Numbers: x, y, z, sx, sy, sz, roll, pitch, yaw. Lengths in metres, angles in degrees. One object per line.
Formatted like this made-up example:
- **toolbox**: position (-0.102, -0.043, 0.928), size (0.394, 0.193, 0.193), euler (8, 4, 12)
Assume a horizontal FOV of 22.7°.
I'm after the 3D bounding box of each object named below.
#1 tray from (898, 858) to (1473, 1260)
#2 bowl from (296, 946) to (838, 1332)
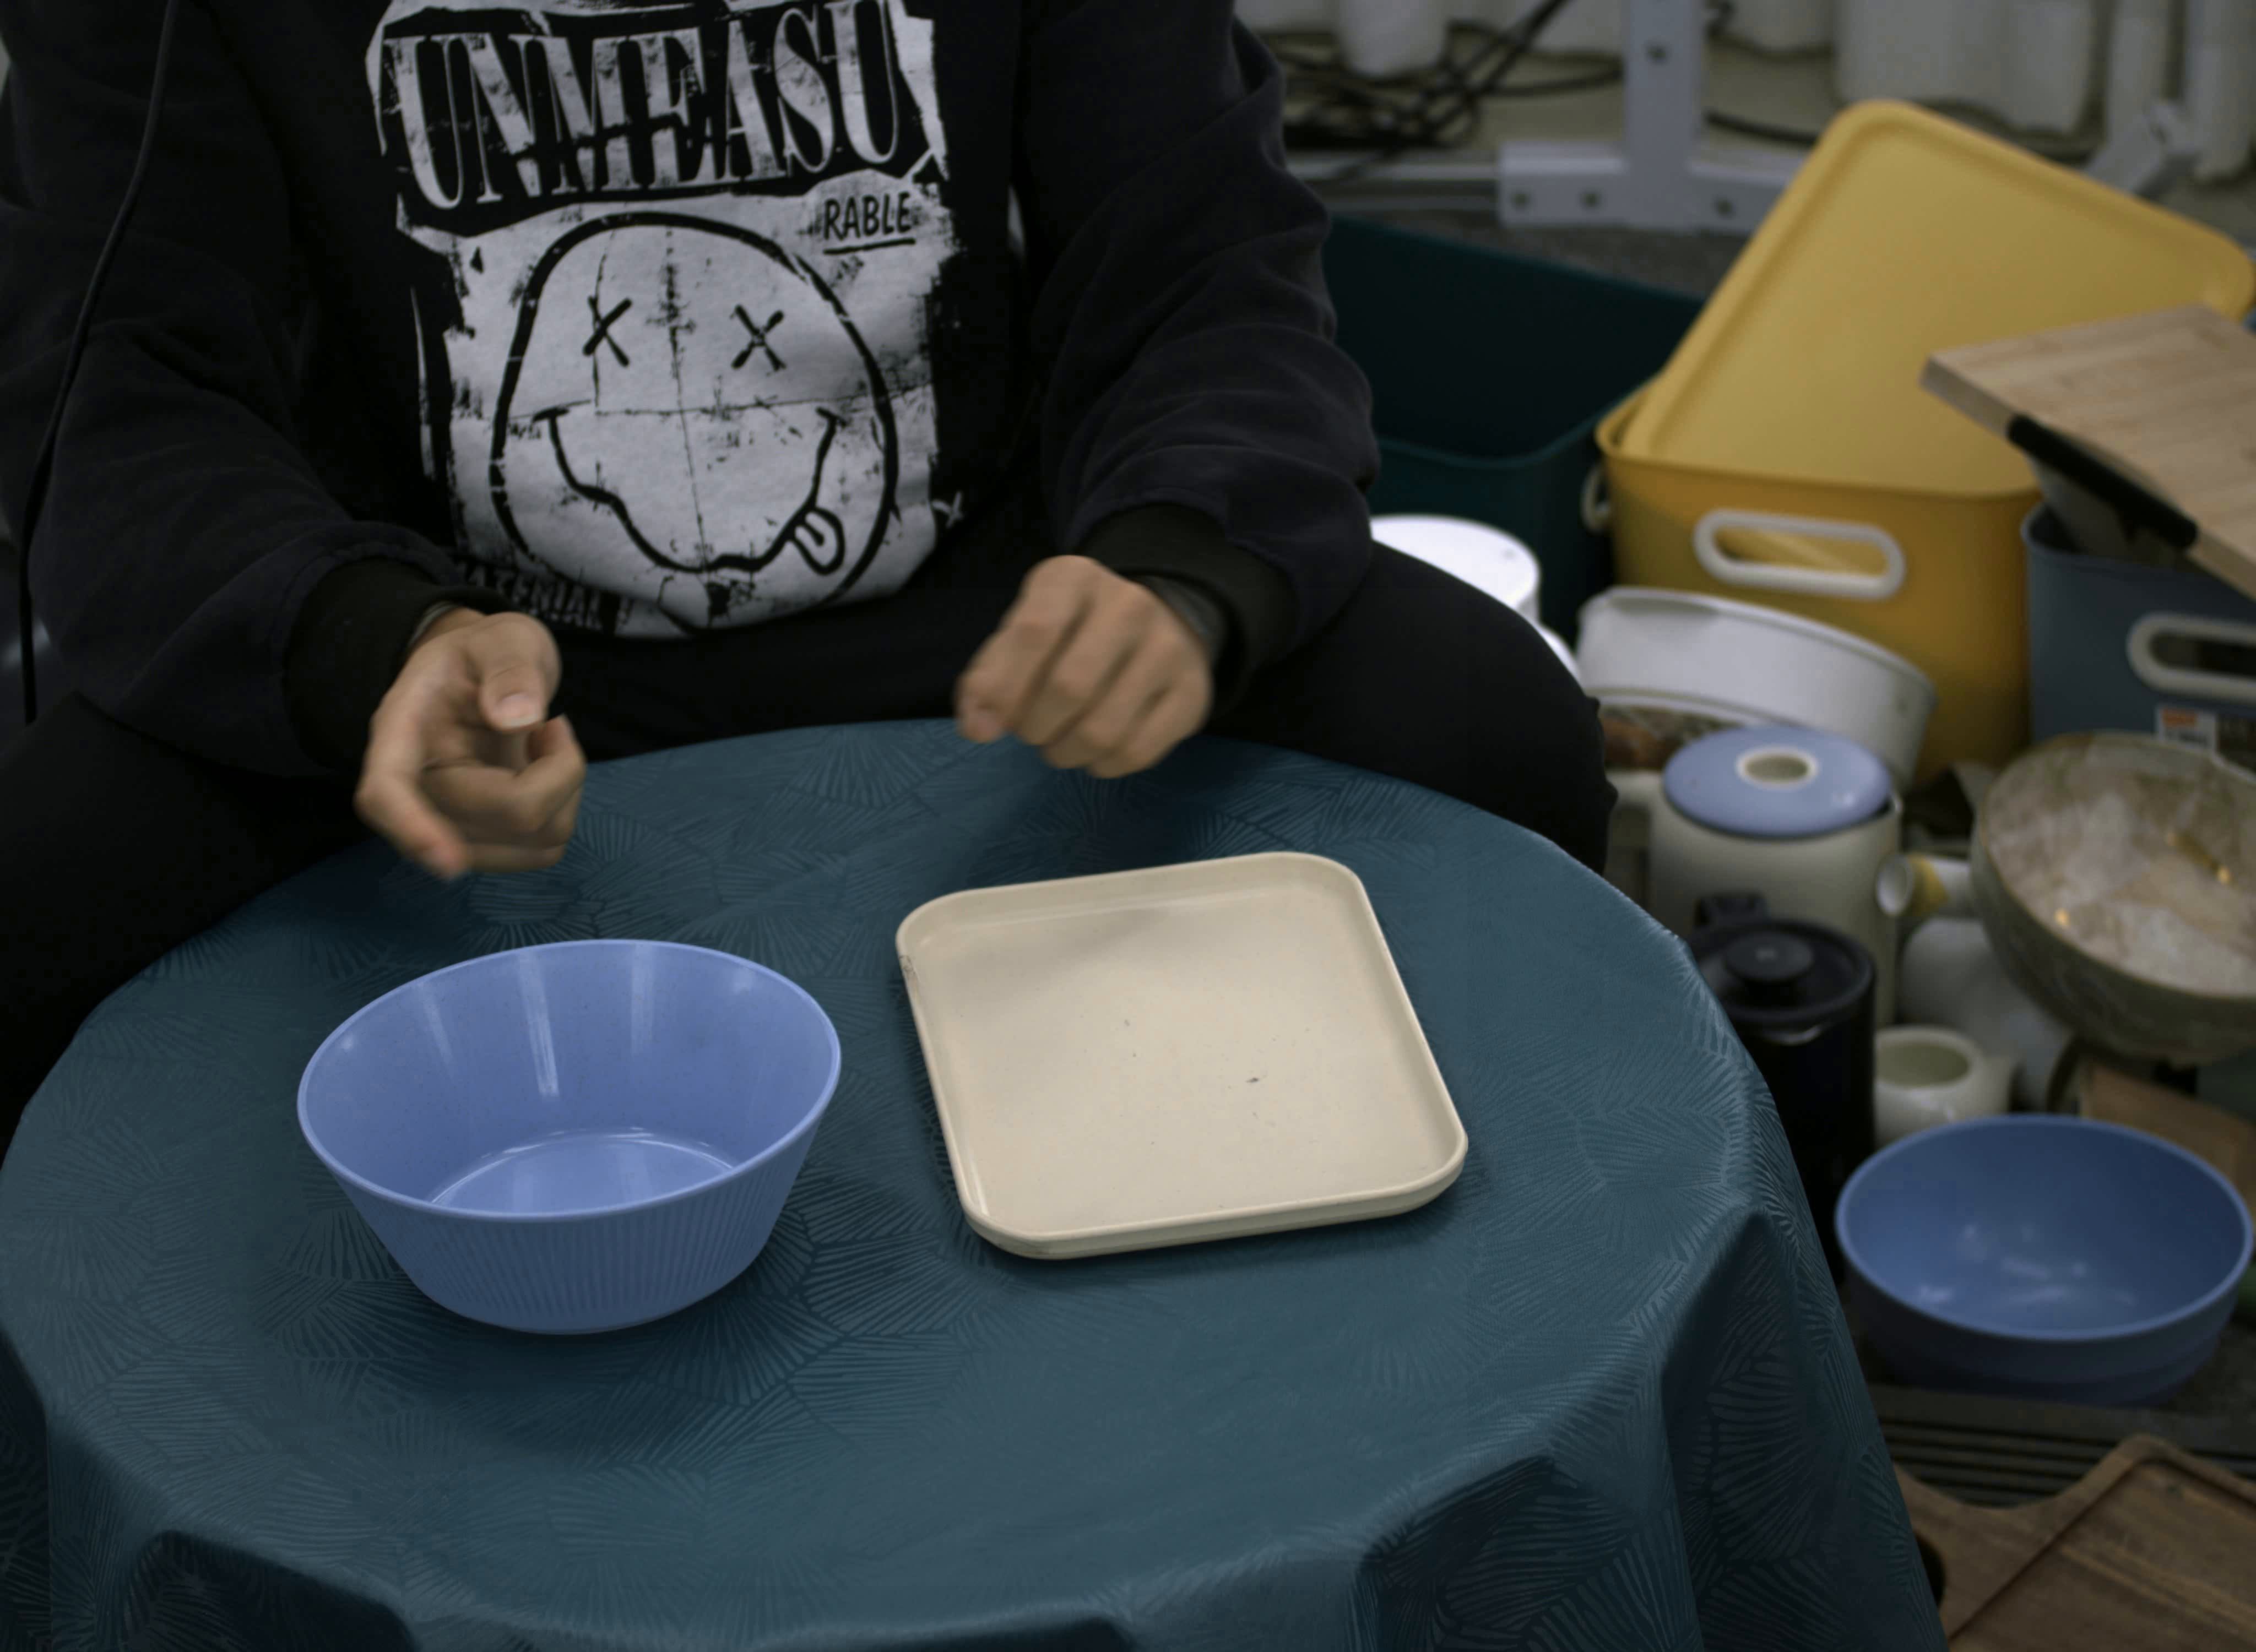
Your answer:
- **tray**: position (0.016, 0.079, 1.924), size (0.171, 0.017, 0.242), euler (-6, 27, -7)
- **bowl**: position (-0.180, 0.108, 1.829), size (0.175, 0.069, 0.179), euler (-1, 27, 1)
